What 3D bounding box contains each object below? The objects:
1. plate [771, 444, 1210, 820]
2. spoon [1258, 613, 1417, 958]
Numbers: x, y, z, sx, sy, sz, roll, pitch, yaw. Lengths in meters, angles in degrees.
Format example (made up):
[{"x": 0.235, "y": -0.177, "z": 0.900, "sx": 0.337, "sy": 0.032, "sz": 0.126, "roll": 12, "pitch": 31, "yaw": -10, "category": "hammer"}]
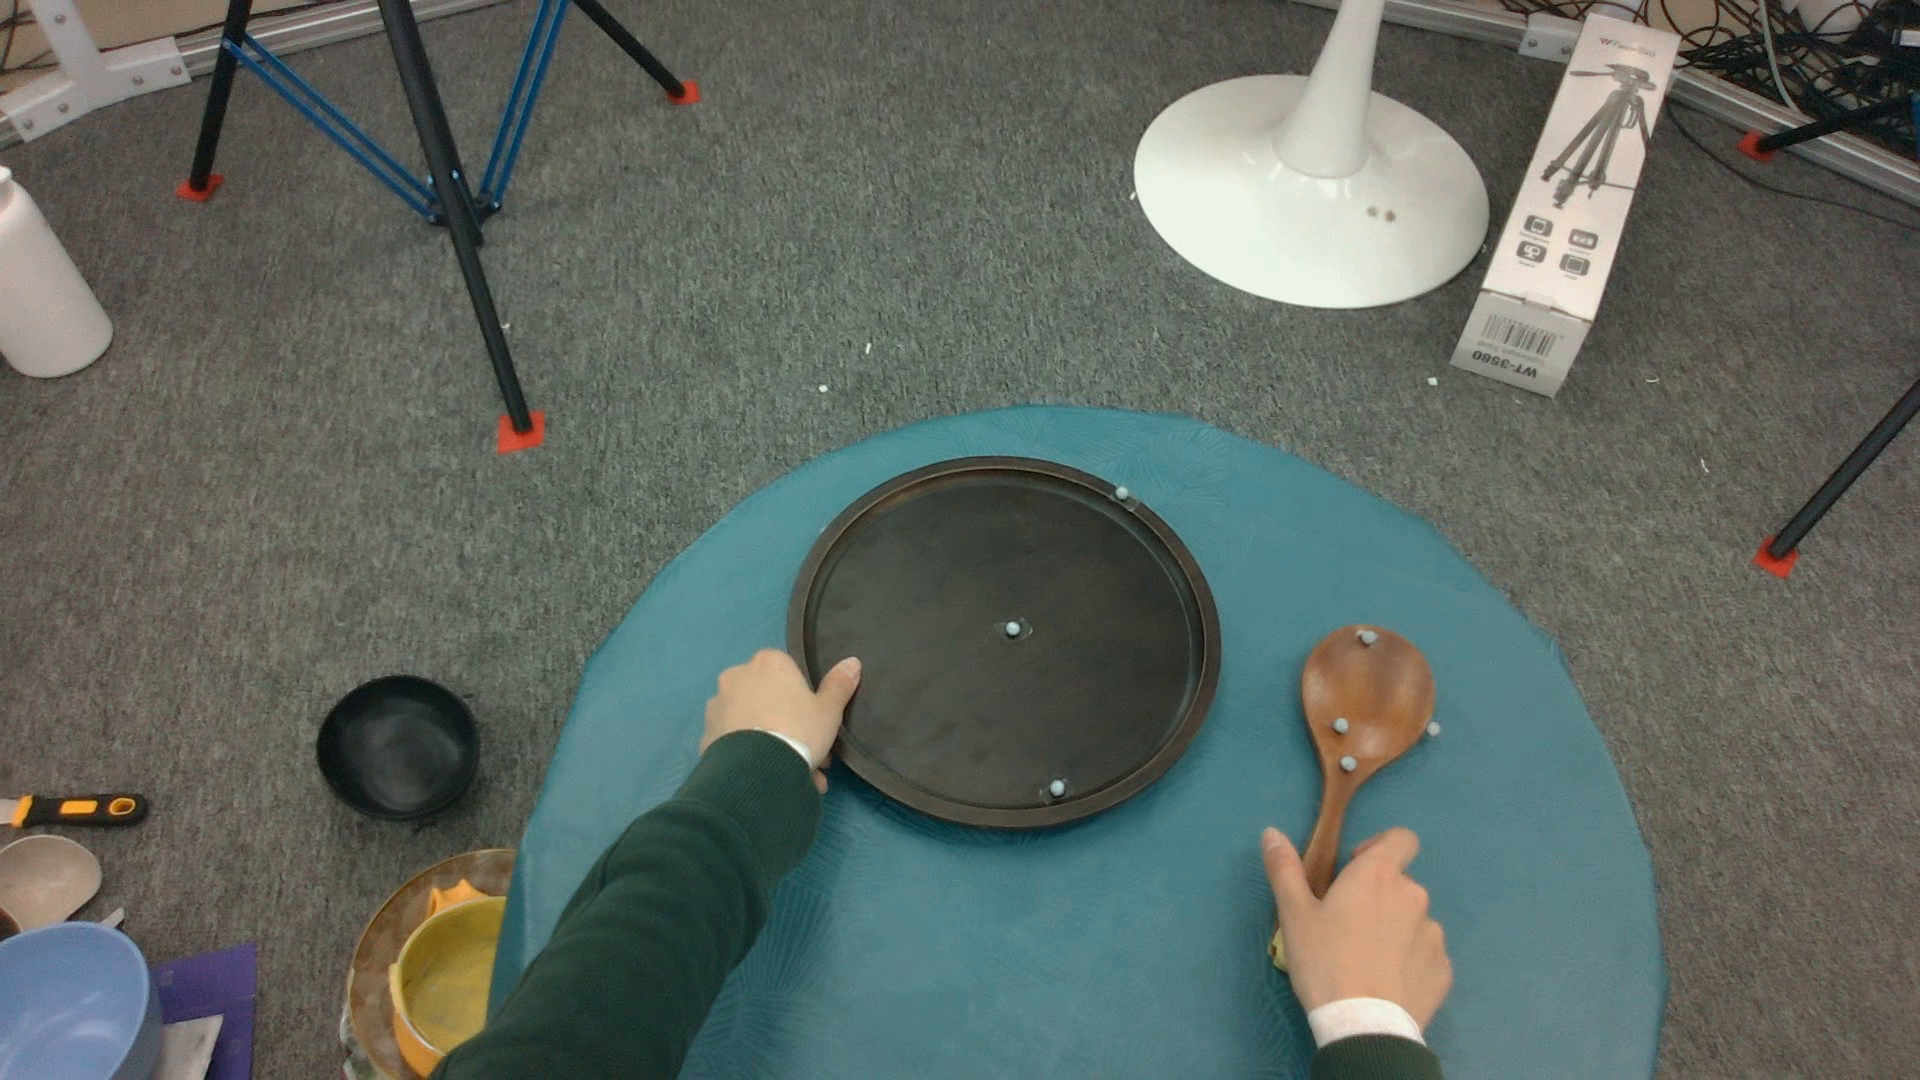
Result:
[{"x": 0.018, "y": 0.047, "z": 0.800, "sx": 0.255, "sy": 0.029, "sz": 0.256, "roll": 2, "pitch": 53, "yaw": -2, "category": "plate"}, {"x": 0.200, "y": 0.129, "z": 0.754, "sx": 0.075, "sy": 0.017, "sz": 0.217, "roll": 20, "pitch": 55, "yaw": 11, "category": "spoon"}]
